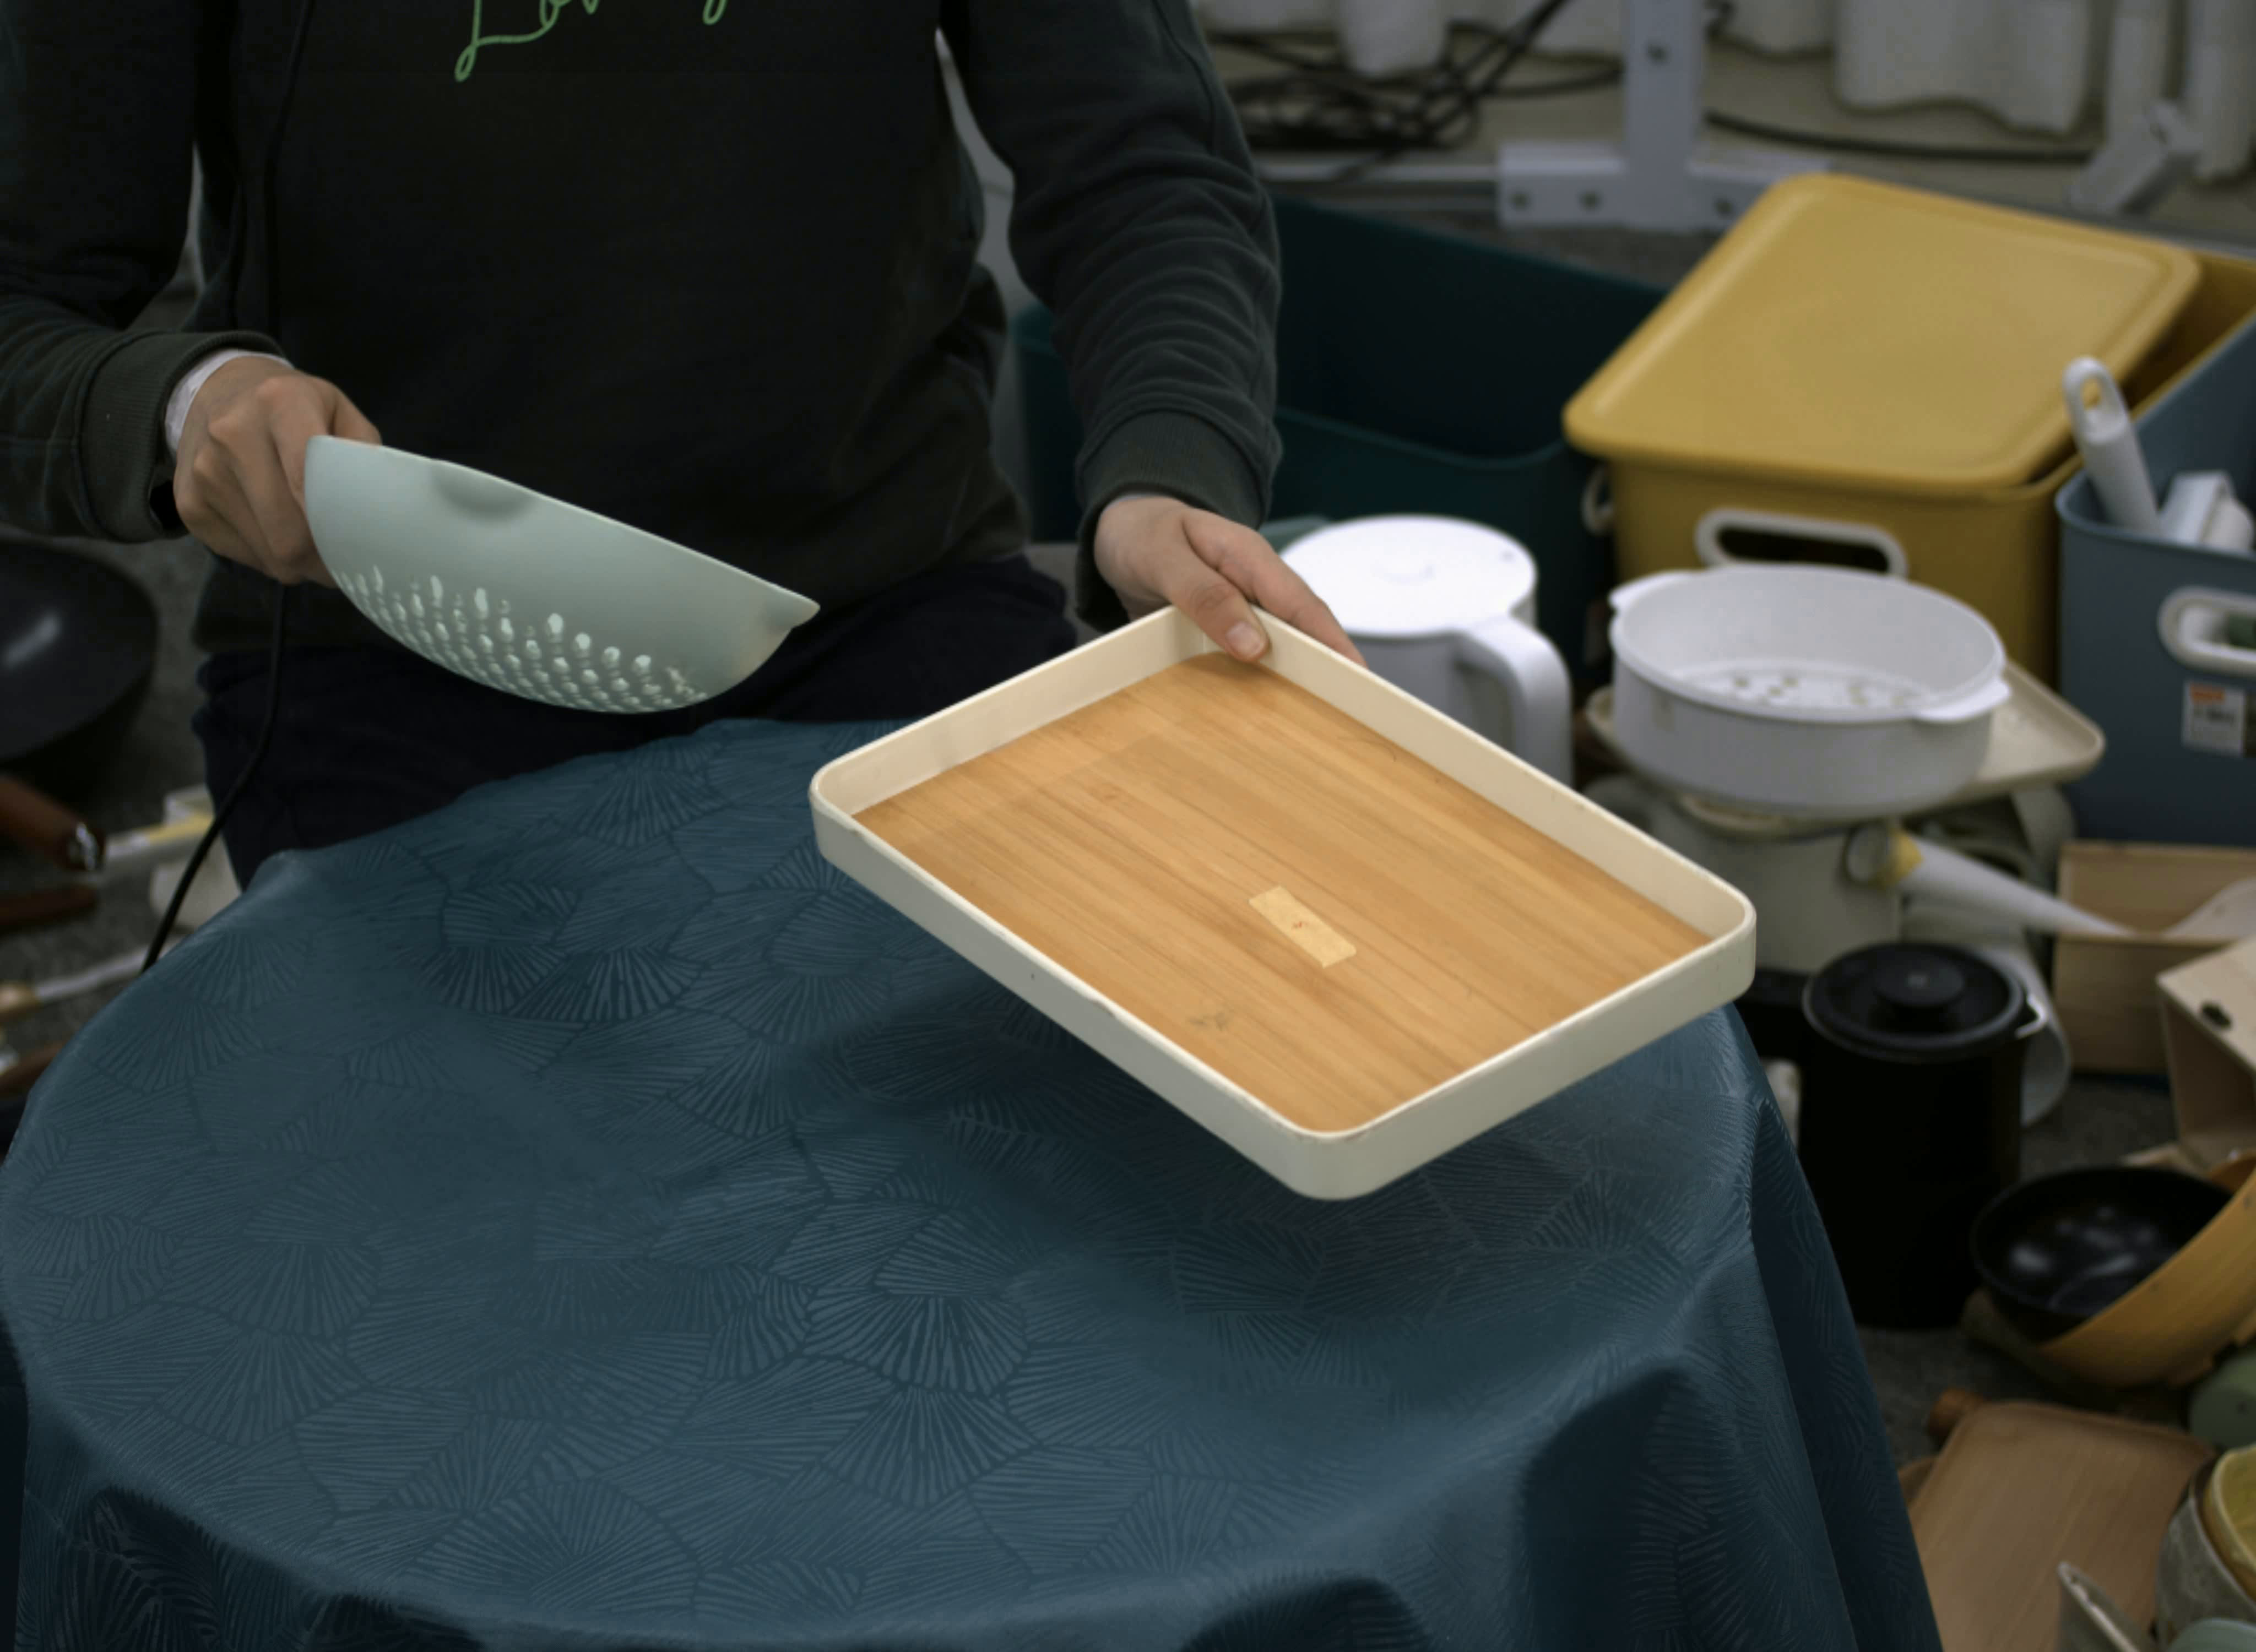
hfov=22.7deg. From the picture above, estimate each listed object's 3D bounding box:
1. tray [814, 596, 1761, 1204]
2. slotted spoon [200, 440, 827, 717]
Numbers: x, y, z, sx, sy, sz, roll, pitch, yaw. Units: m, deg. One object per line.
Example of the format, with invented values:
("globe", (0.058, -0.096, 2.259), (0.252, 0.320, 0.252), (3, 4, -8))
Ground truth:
("tray", (0.049, 0.019, 1.881), (0.193, 0.027, 0.301), (-25, 37, -28))
("slotted spoon", (-0.239, -0.093, 1.911), (0.169, 0.075, 0.358), (22, 1, -31))
